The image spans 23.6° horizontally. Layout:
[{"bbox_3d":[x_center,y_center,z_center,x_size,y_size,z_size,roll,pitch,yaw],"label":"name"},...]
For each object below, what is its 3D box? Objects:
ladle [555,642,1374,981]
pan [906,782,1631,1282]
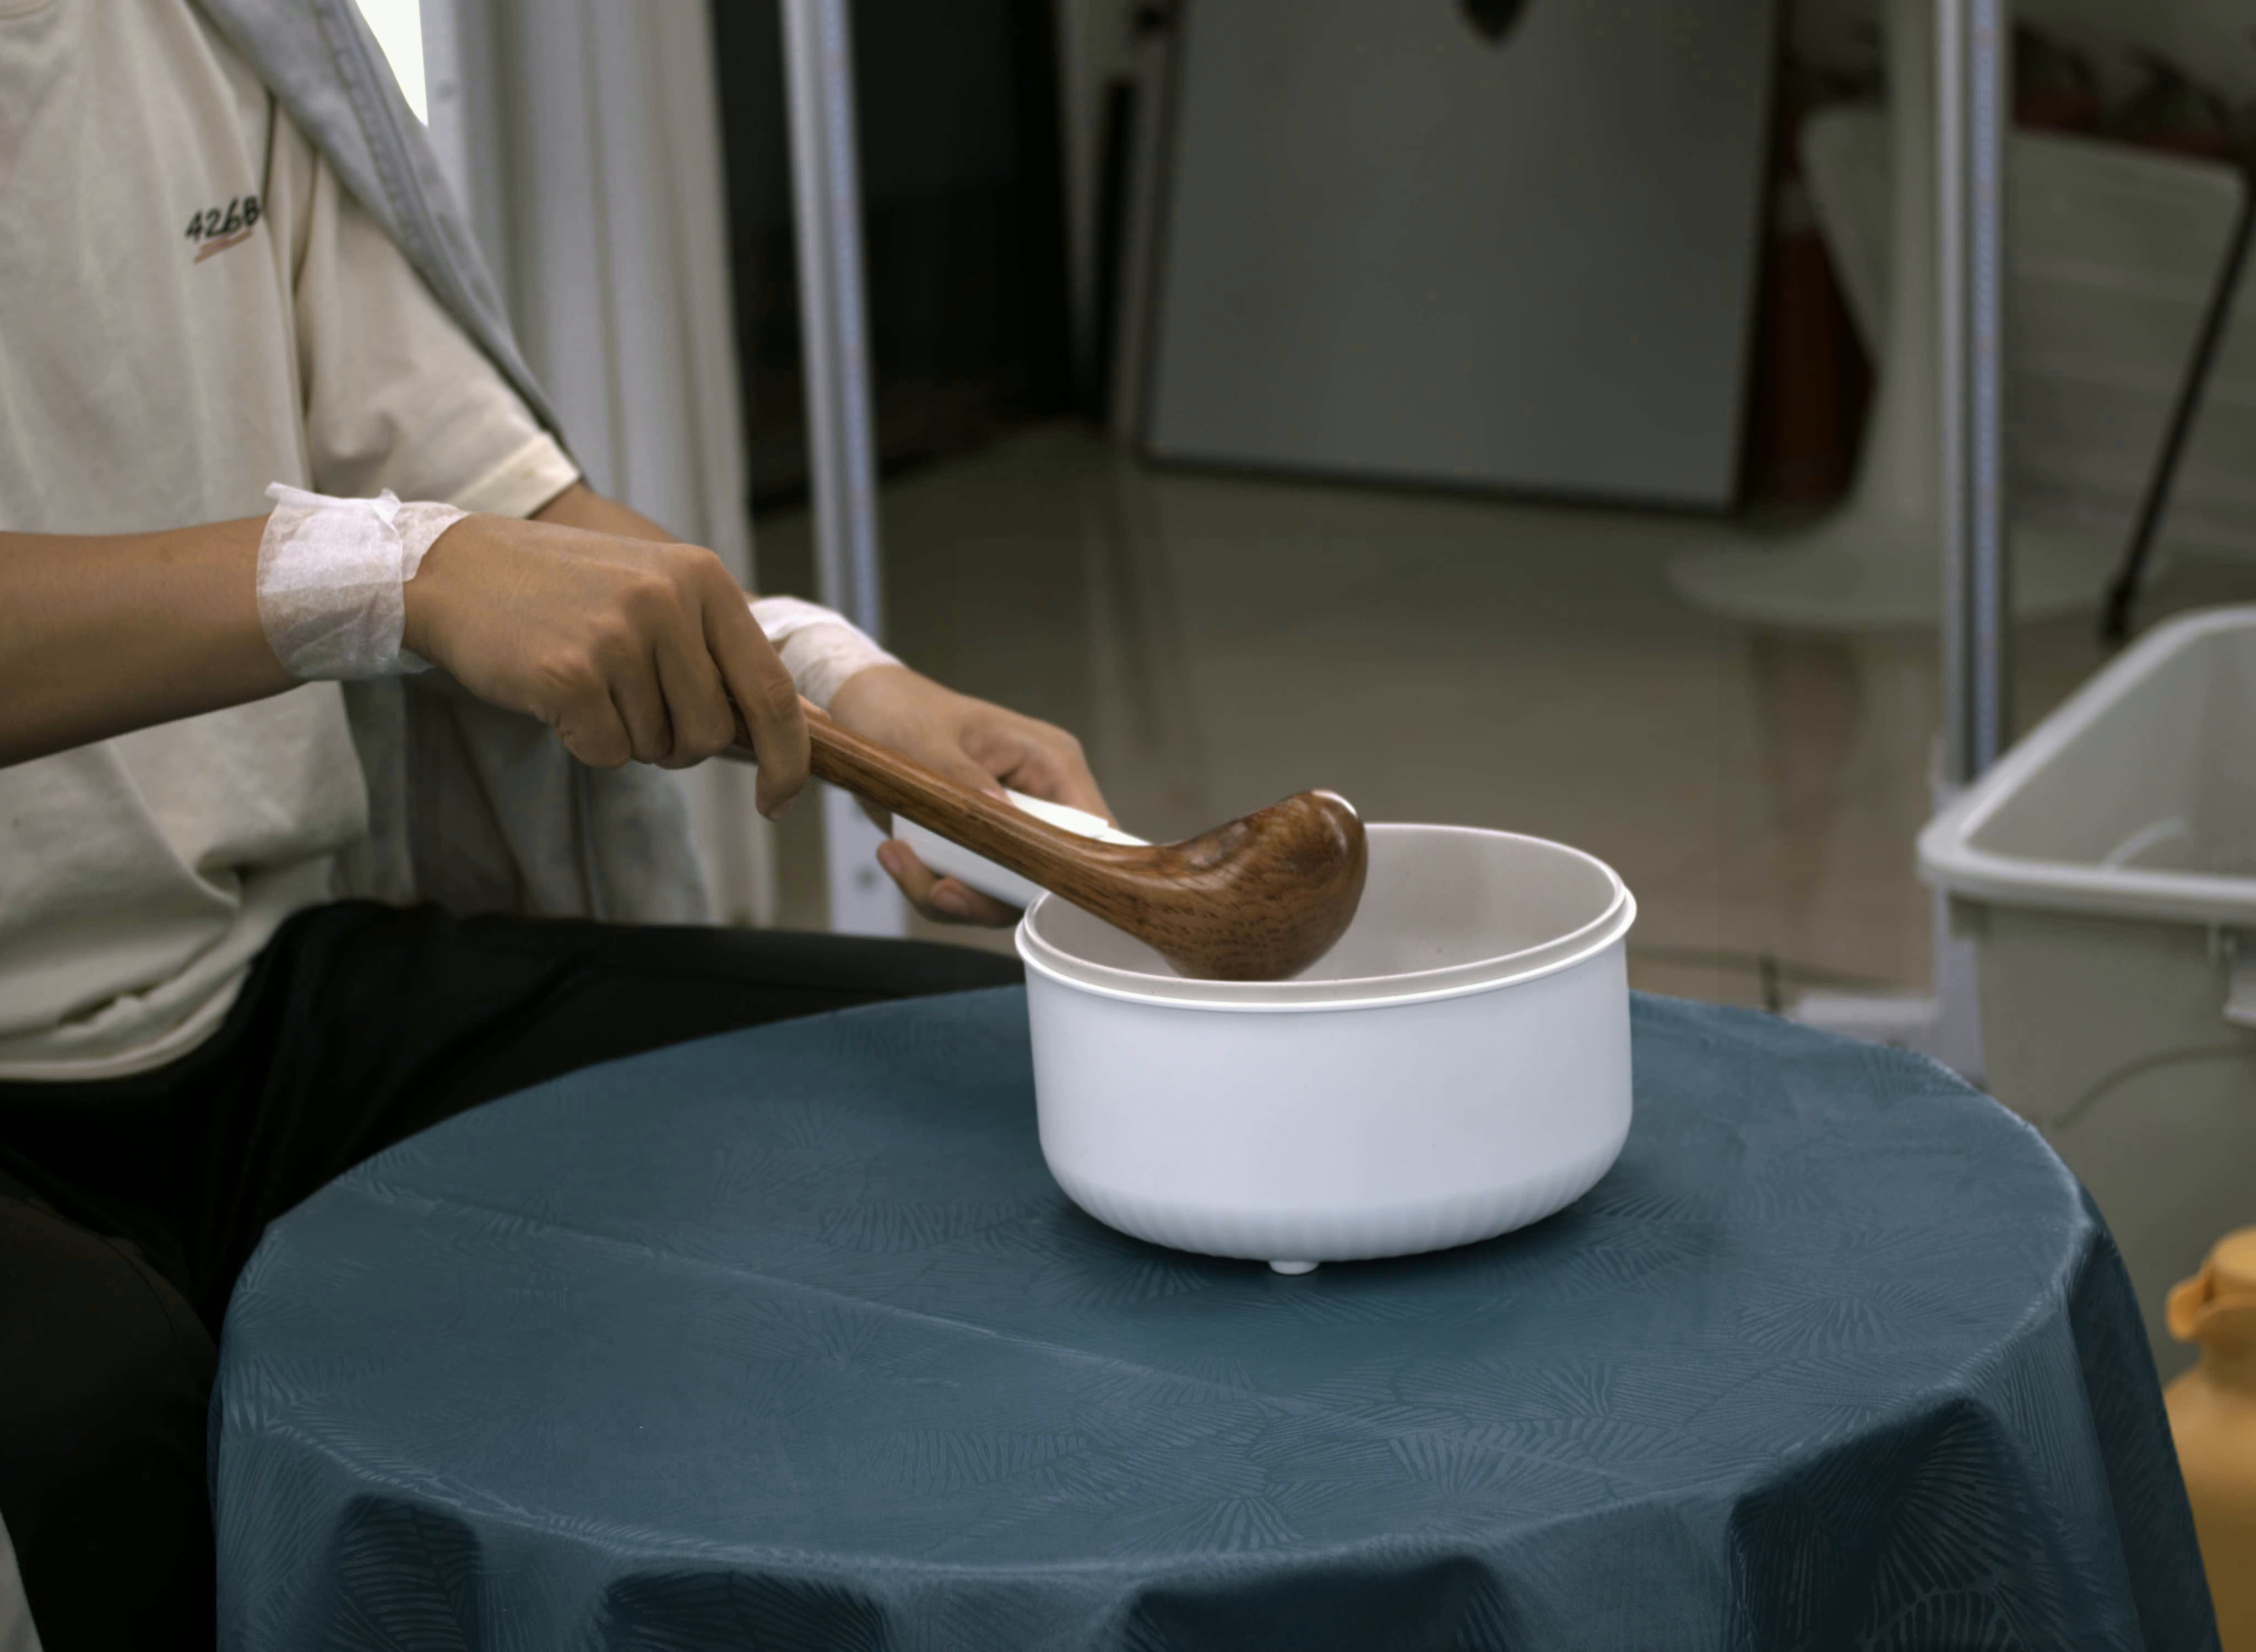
[{"bbox_3d":[-0.050,-0.018,1.763,0.271,0.083,0.076,21,25,2],"label":"ladle"},{"bbox_3d":[0.026,0.061,1.807,0.197,0.103,0.358,-13,15,-28],"label":"pan"}]
